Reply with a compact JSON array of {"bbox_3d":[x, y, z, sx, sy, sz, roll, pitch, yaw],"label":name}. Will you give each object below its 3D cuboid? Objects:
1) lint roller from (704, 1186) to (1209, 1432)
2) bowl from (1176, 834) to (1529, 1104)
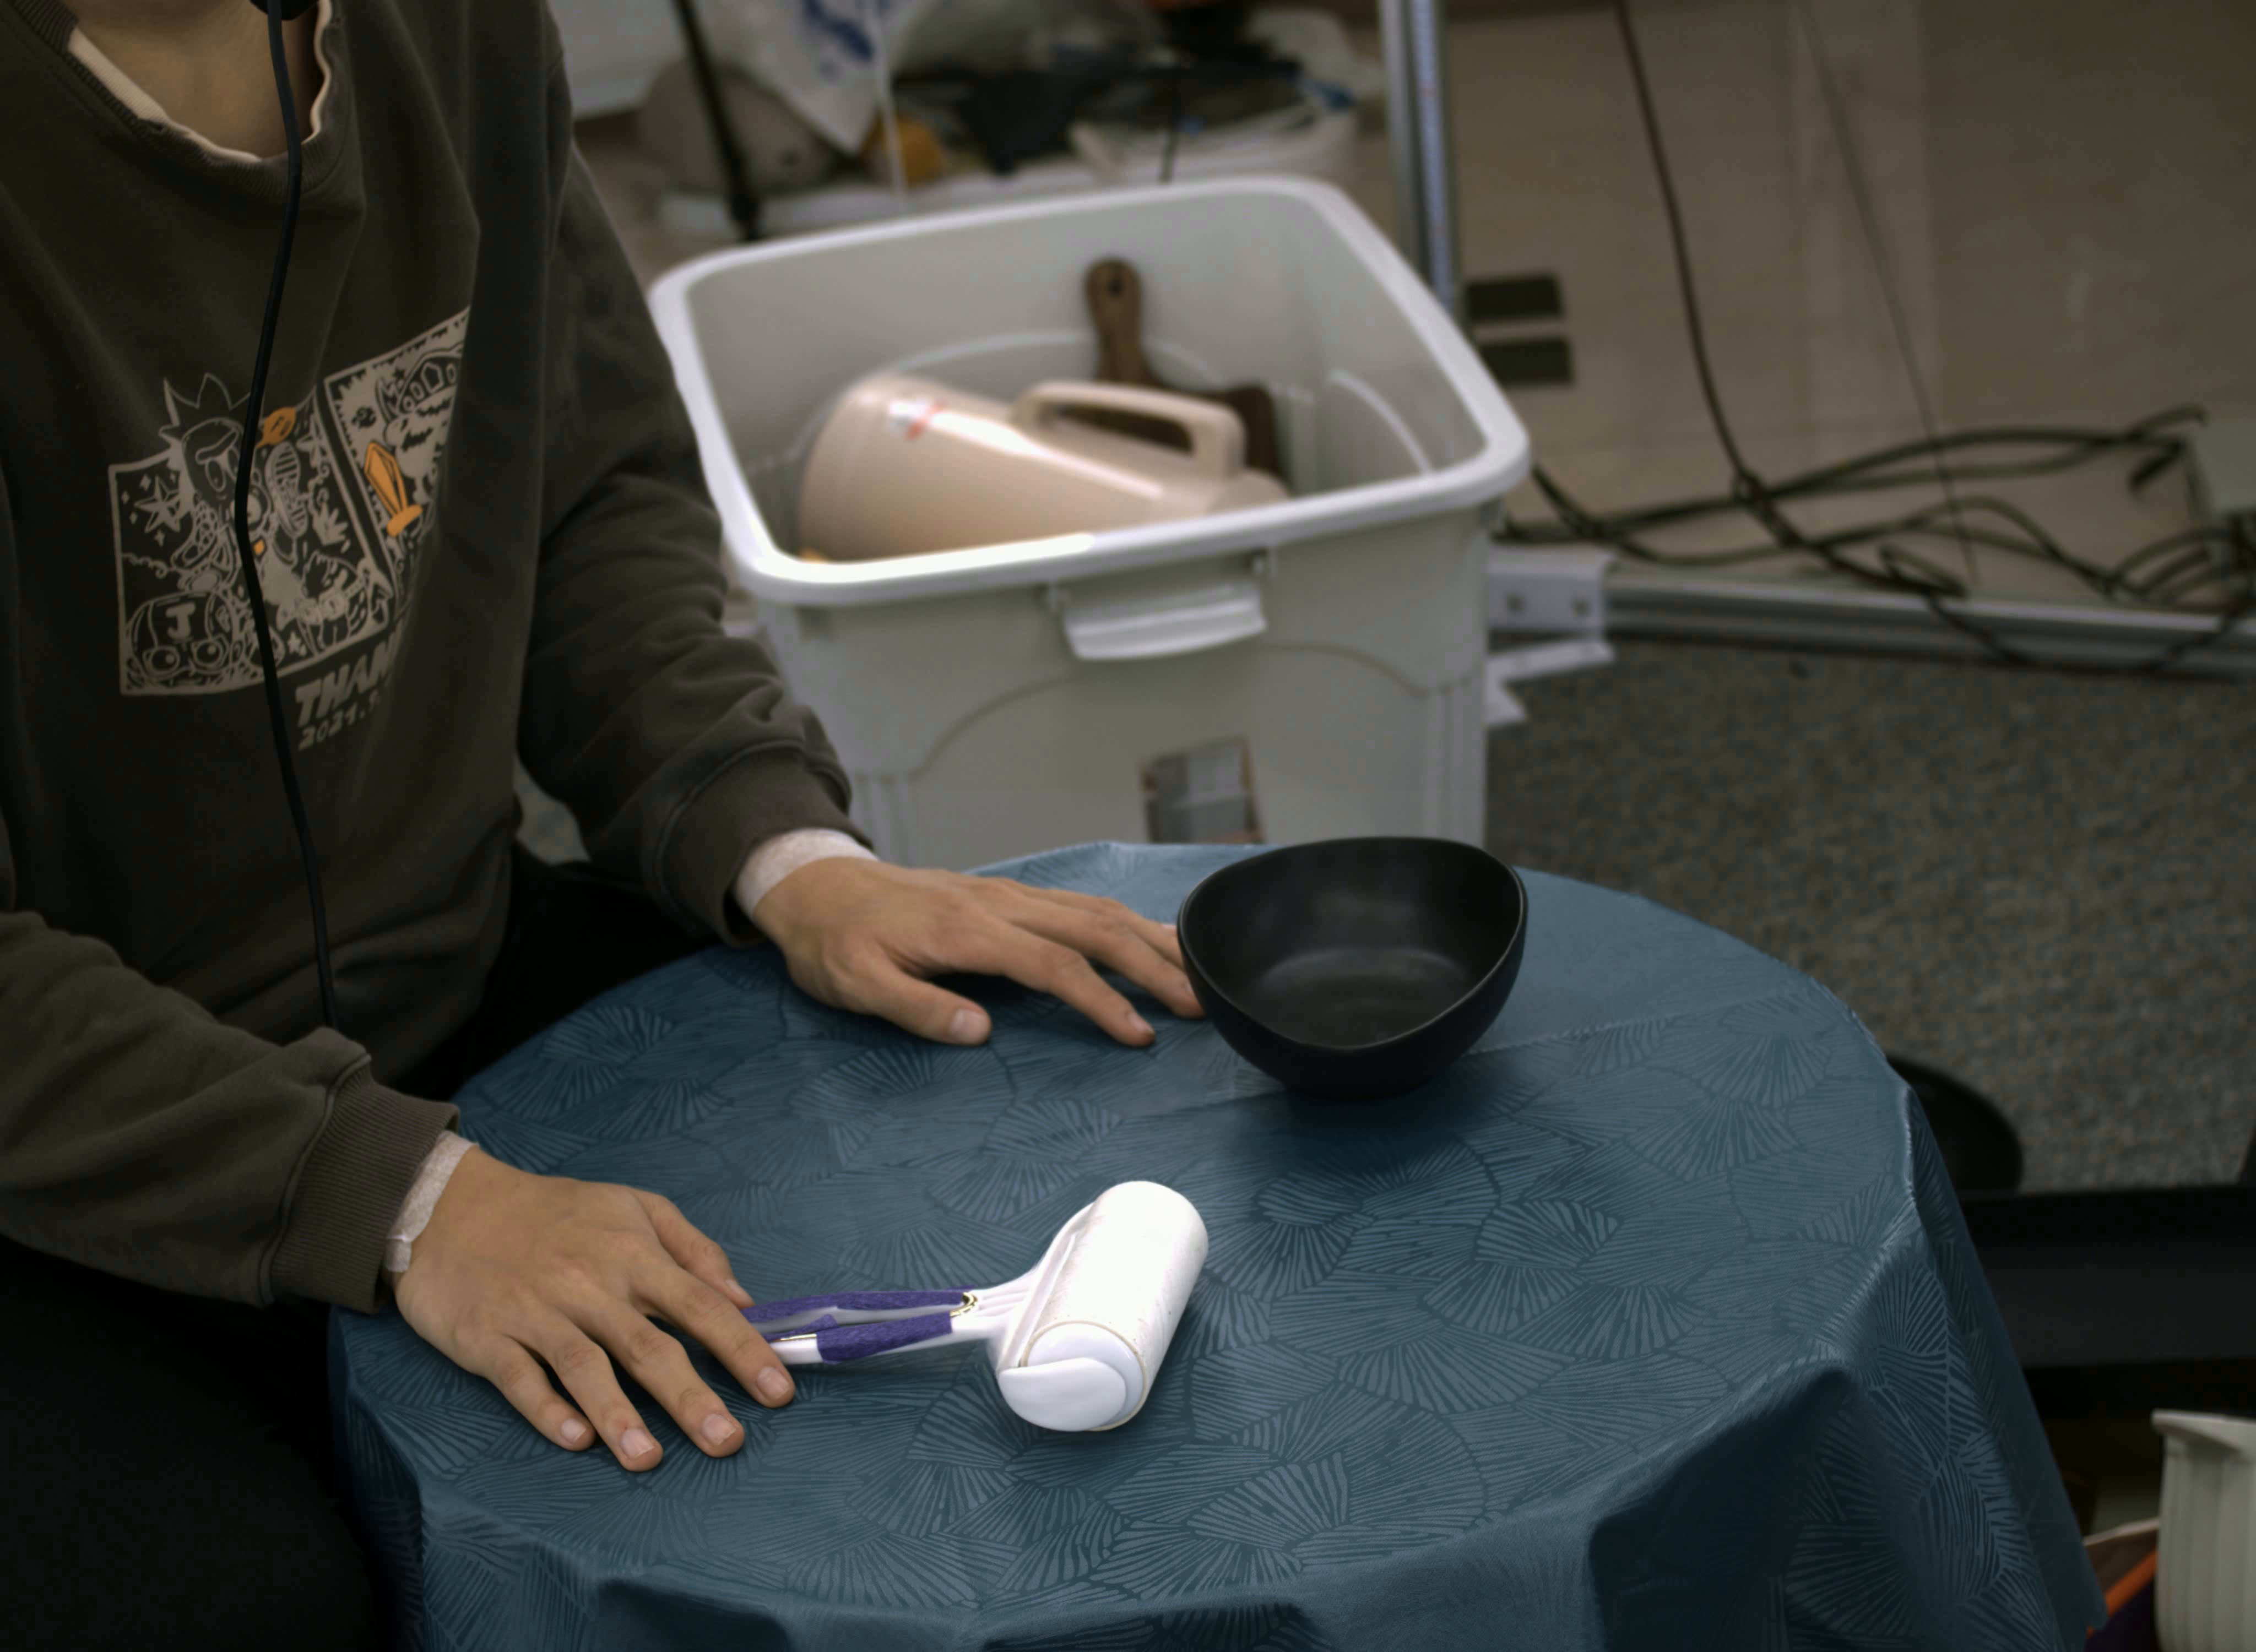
[{"bbox_3d":[-0.067,0.169,2.042,0.180,0.051,0.131,4,27,15],"label":"lint roller"},{"bbox_3d":[0.091,0.063,2.211,0.137,0.068,0.167,-7,27,1],"label":"bowl"}]
